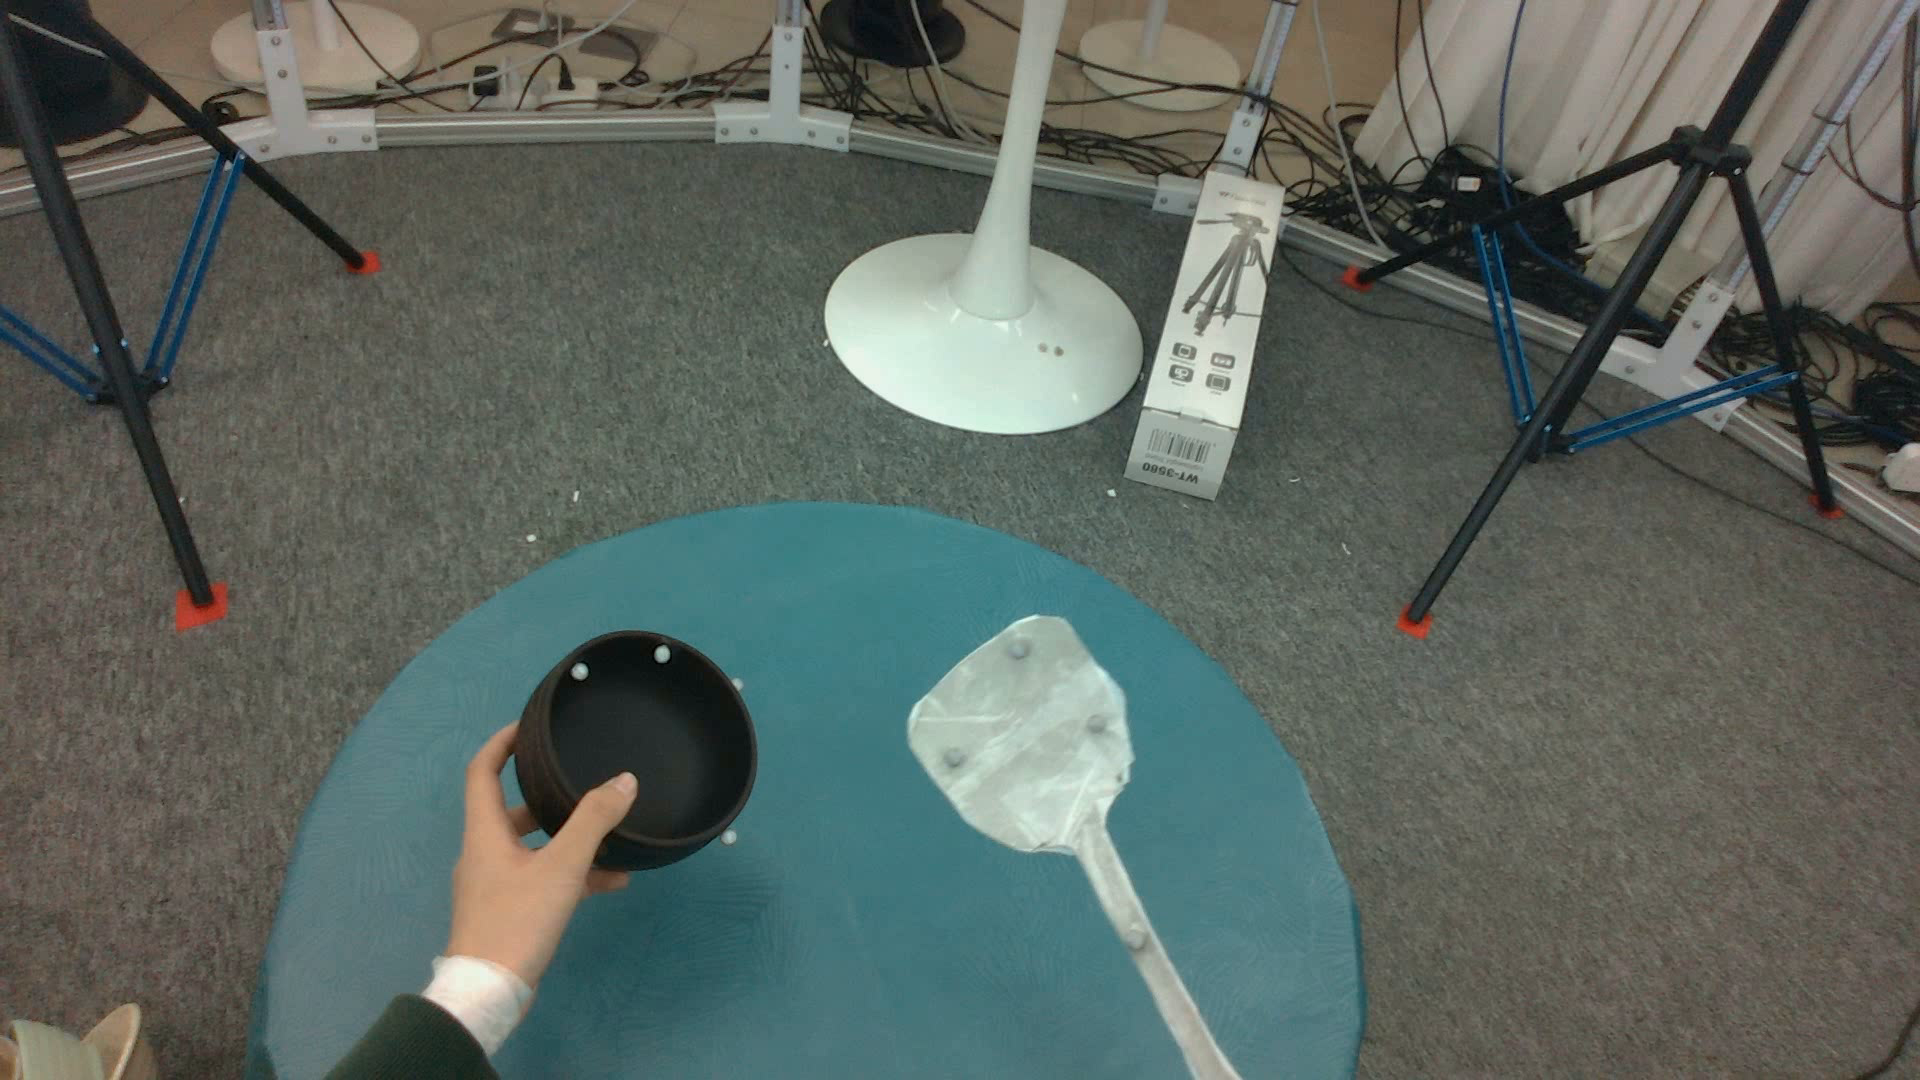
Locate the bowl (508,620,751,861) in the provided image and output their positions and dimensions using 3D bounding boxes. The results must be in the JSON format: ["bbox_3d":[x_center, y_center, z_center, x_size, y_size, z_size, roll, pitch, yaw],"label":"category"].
[{"bbox_3d":[-0.172,0.107,0.696,0.118,0.069,0.118,25,46,-29],"label":"bowl"}]

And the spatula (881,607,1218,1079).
[{"bbox_3d":[0.075,0.180,0.571,0.098,0.045,0.366,-37,50,7],"label":"spatula"}]
